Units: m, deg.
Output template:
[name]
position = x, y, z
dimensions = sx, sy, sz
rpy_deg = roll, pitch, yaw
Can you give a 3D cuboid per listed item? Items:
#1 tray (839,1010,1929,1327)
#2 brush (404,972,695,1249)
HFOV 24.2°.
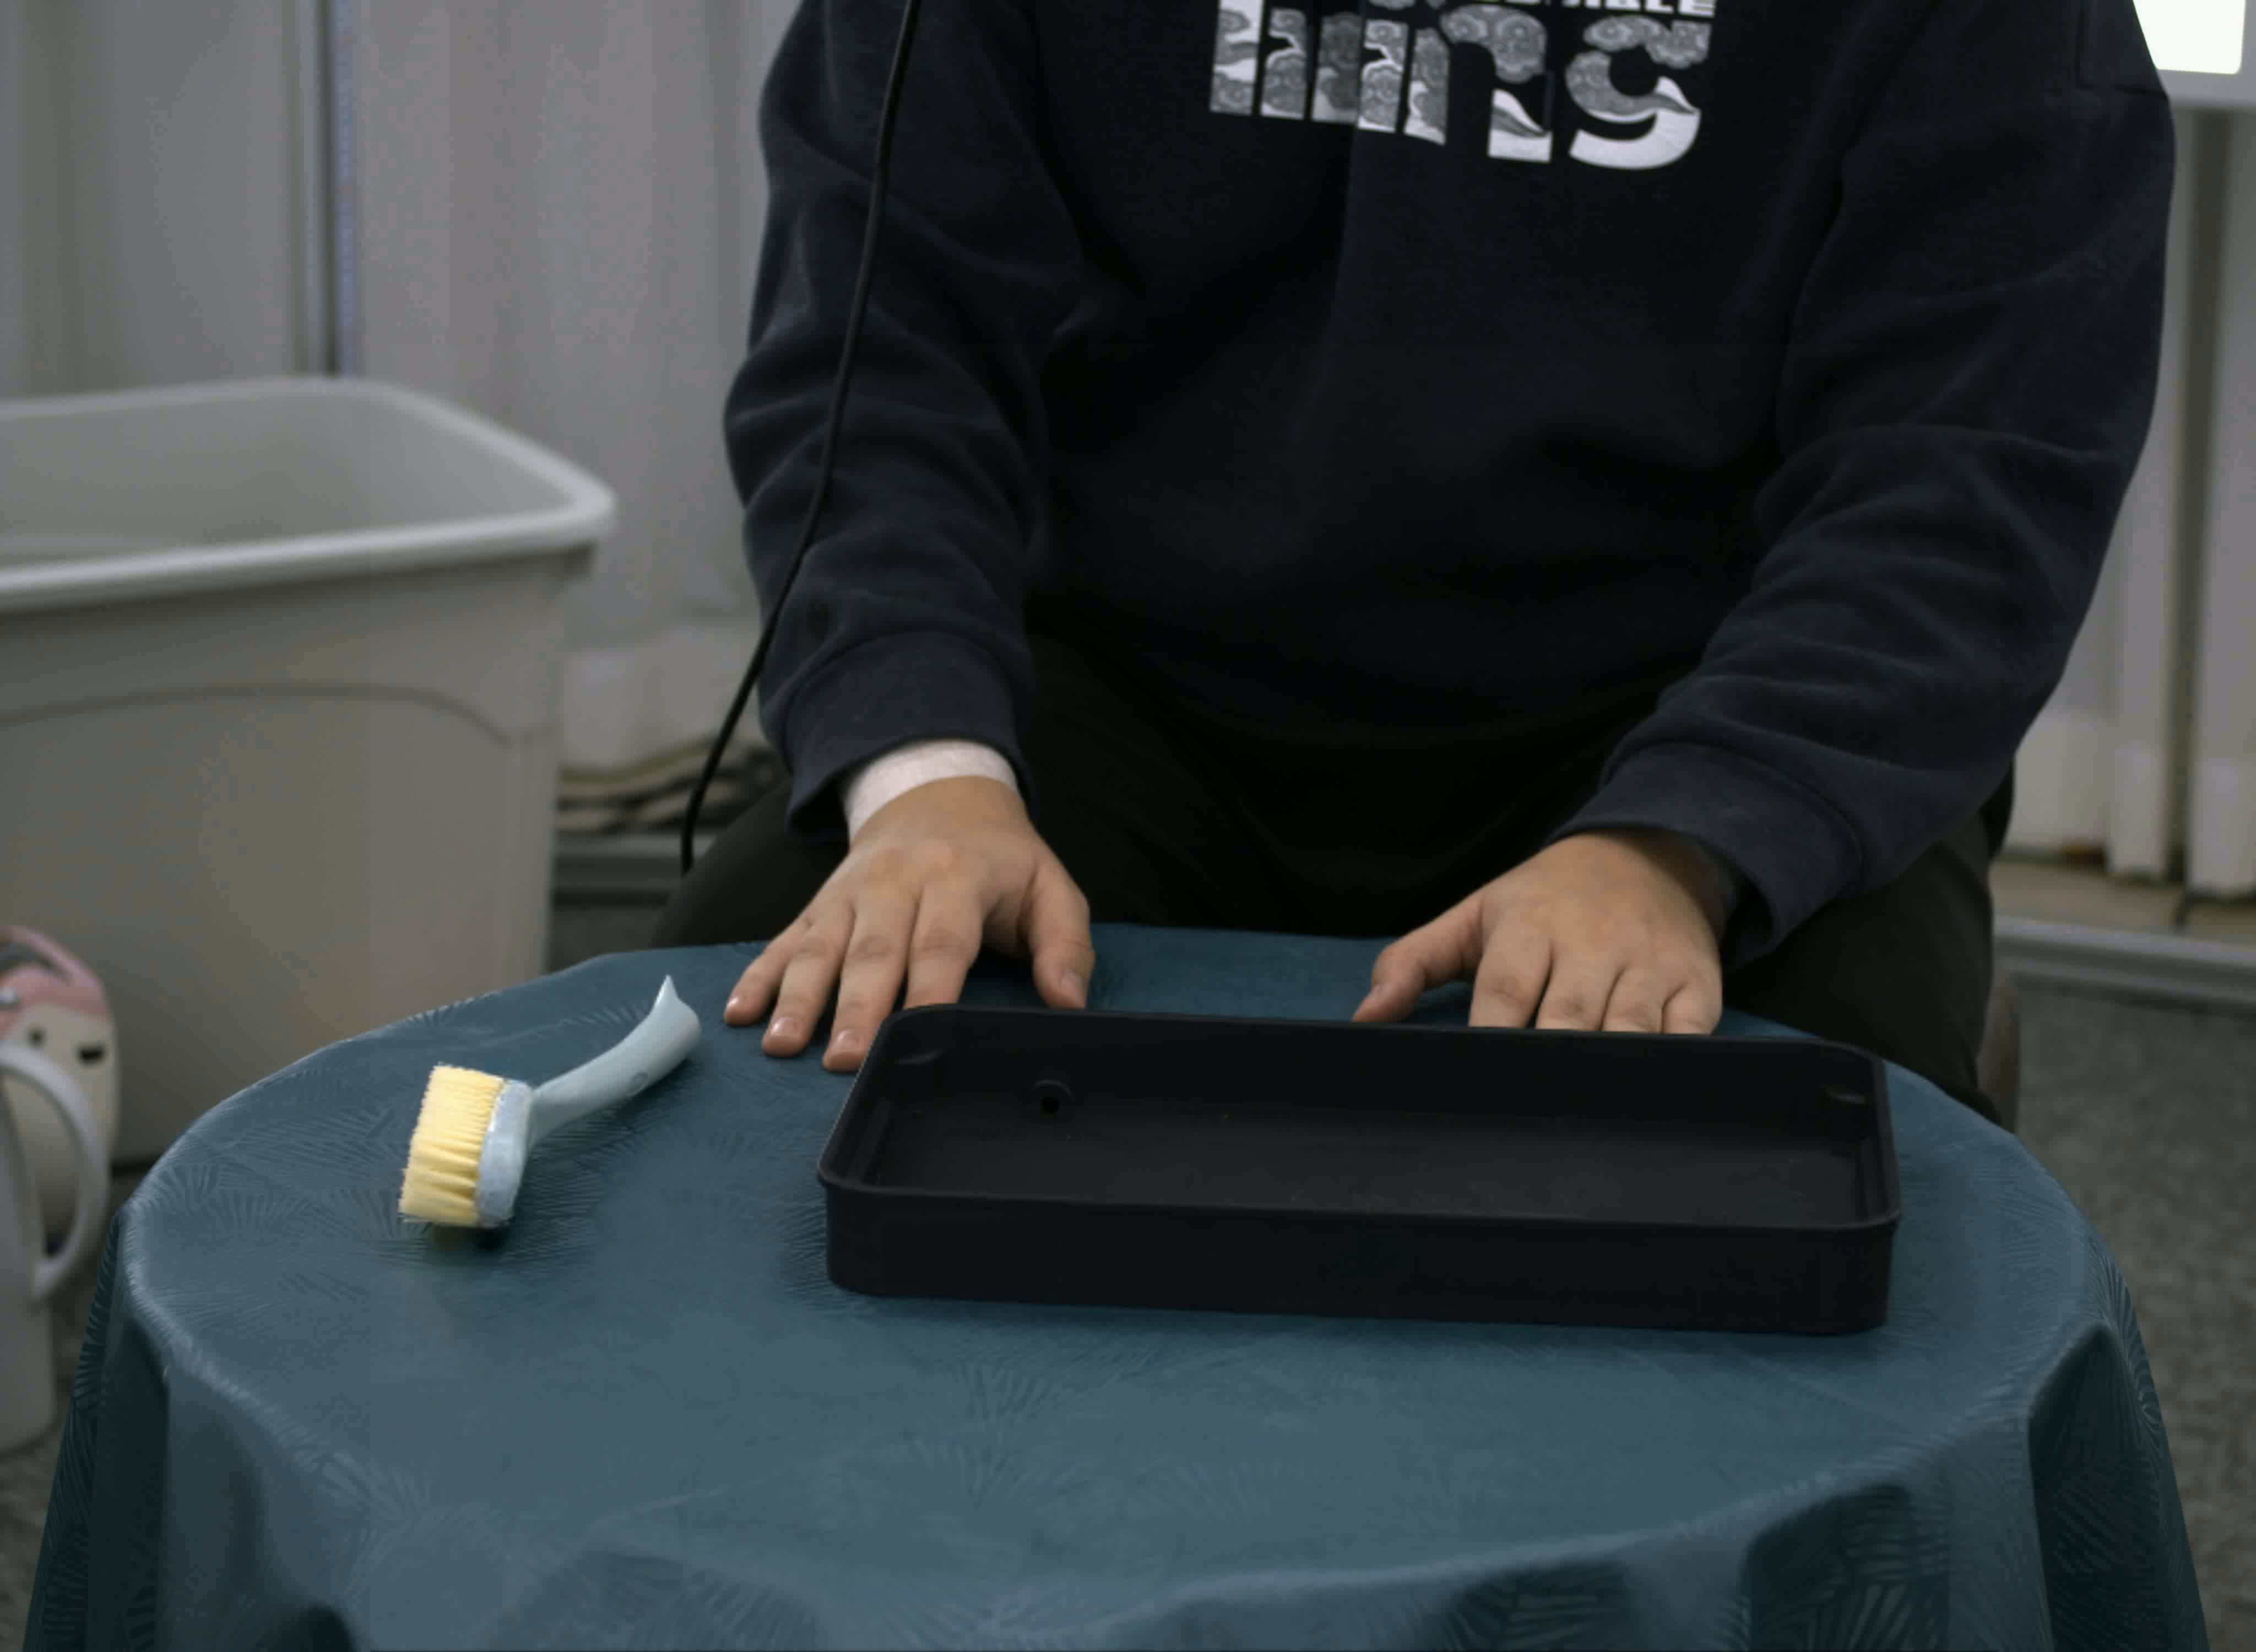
[tray]
position = 0.078, 0.102, 1.601
dimensions = 0.316, 0.037, 0.183
rpy_deg = 1, 15, 3
[brush]
position = -0.183, 0.082, 1.660
dimensions = 0.049, 0.038, 0.228
rpy_deg = 15, 17, 8
